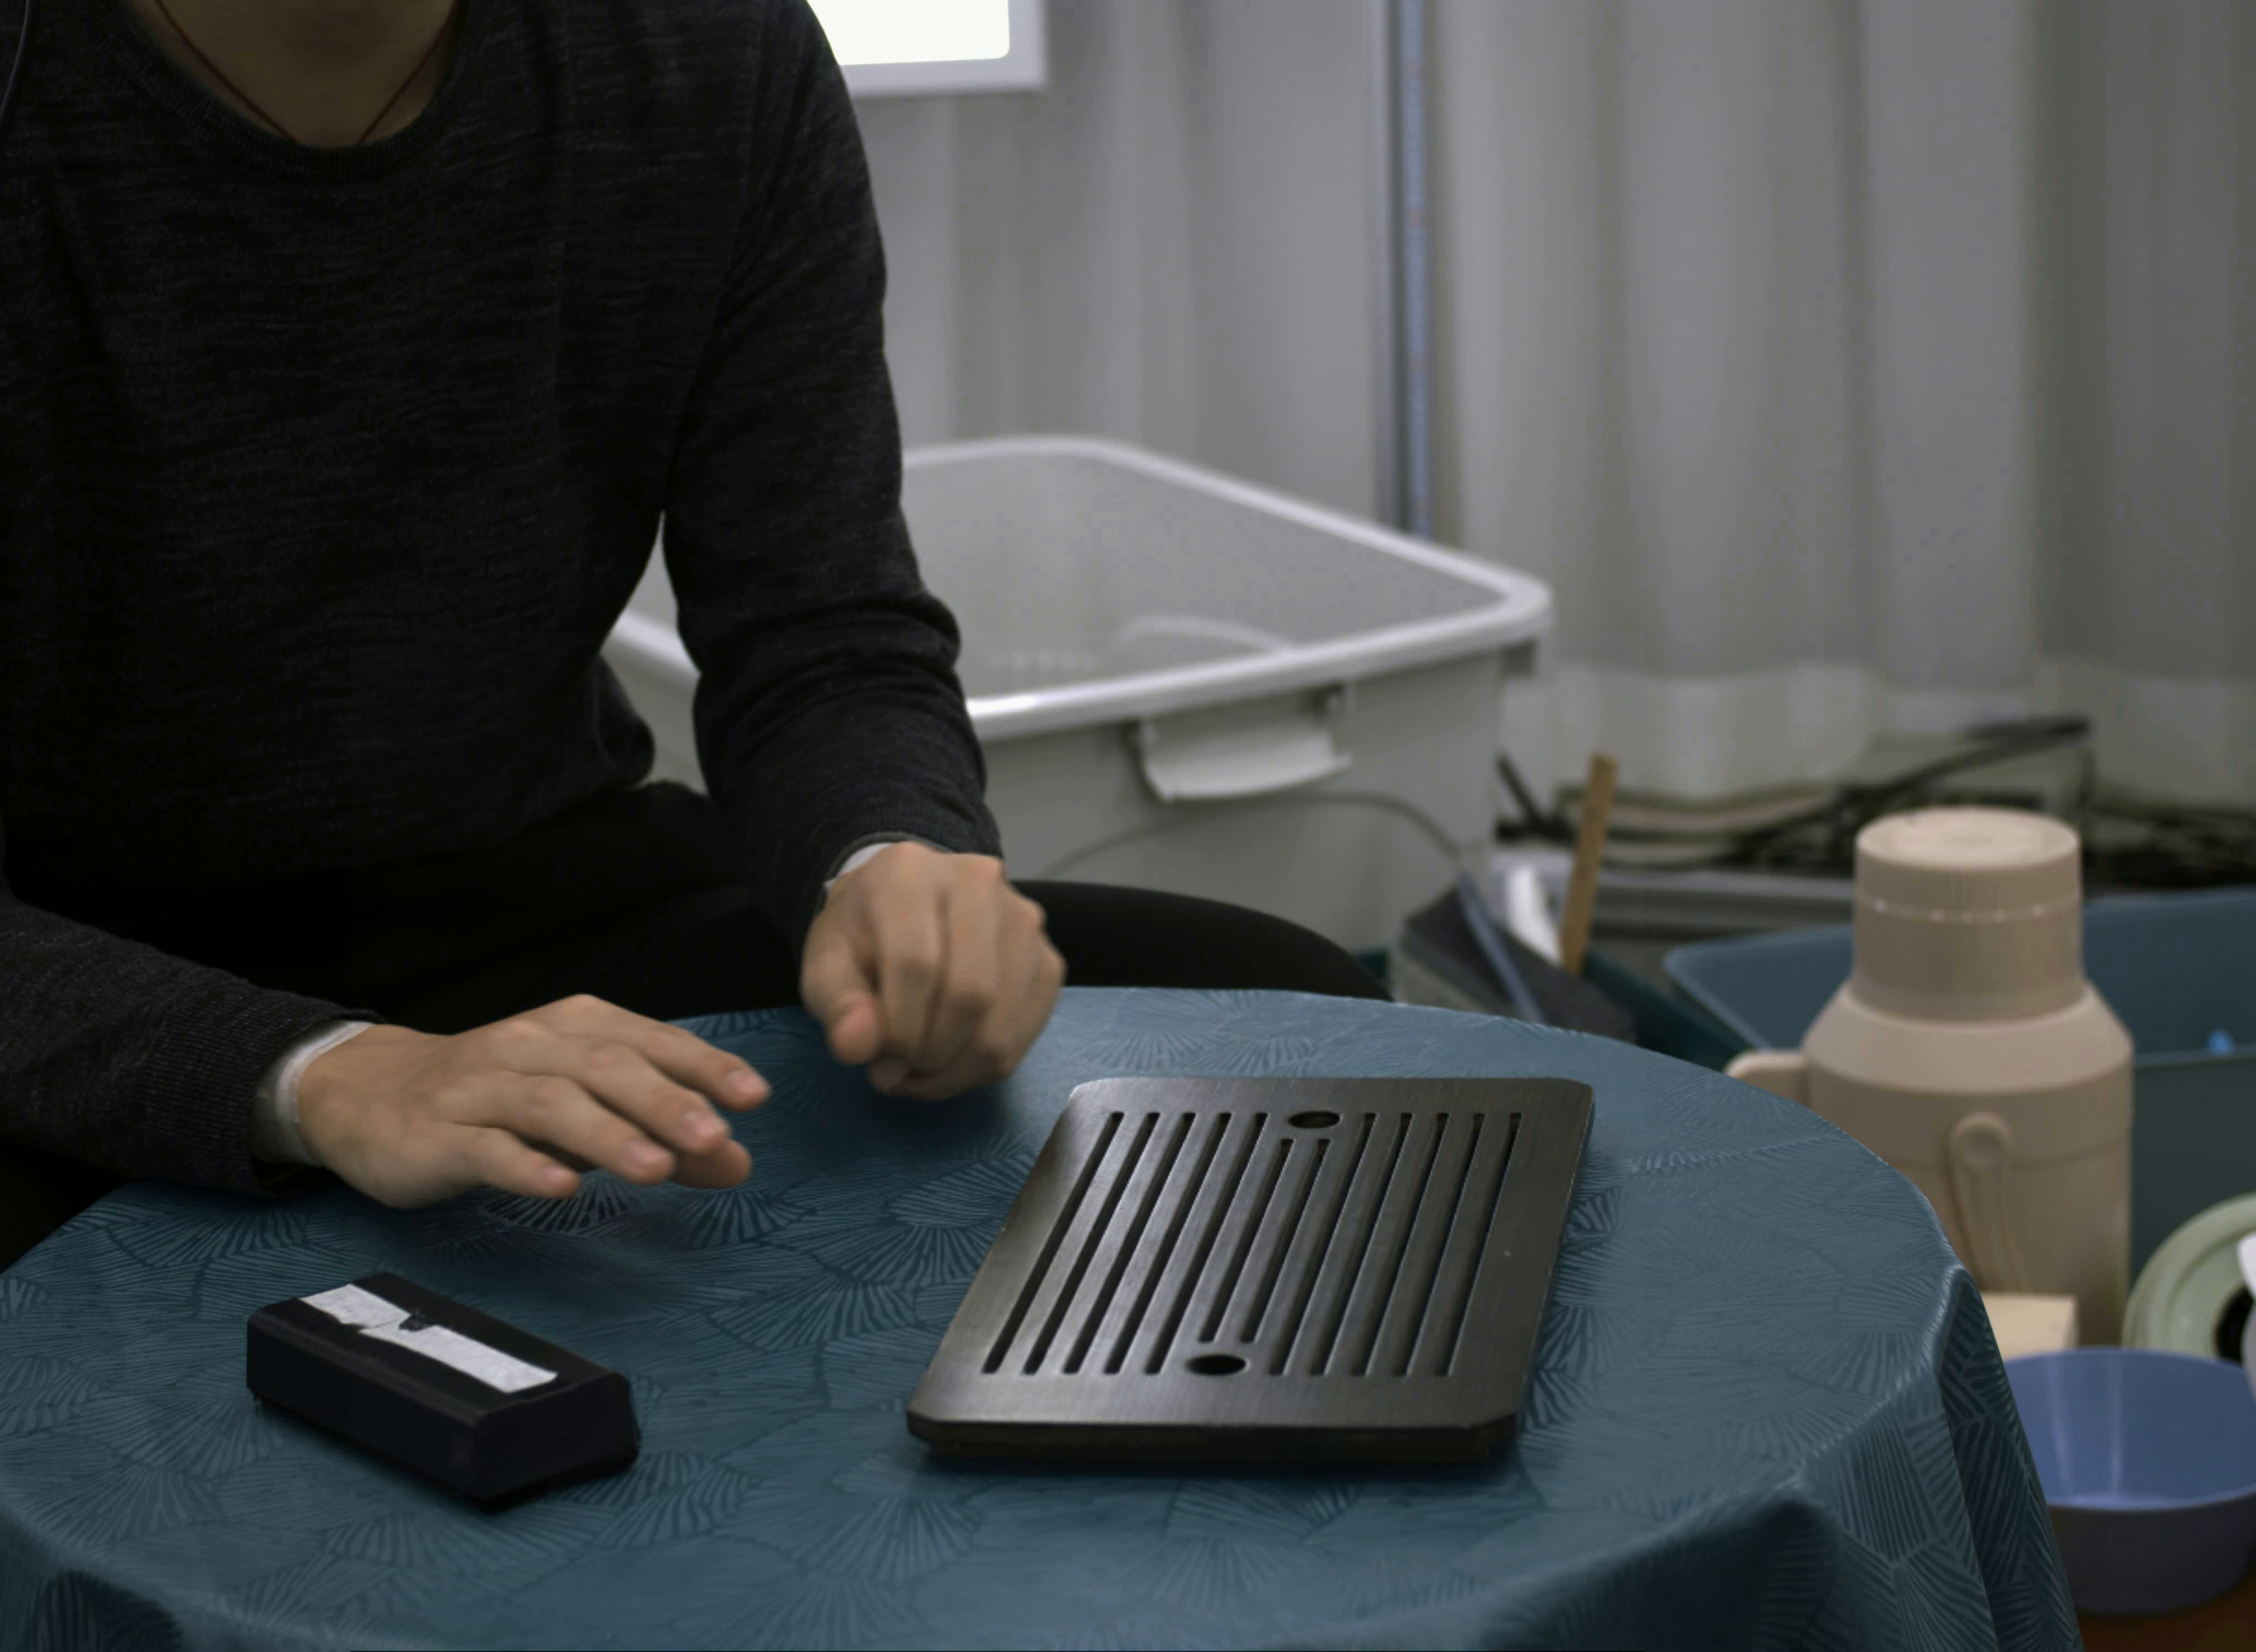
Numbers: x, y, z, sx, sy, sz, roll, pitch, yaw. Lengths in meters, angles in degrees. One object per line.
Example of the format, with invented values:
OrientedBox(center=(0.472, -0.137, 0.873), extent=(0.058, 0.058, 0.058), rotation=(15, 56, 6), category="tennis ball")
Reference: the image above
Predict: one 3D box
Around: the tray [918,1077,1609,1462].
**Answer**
OrientedBox(center=(0.048, 0.129, 1.617), extent=(0.170, 0.018, 0.307), rotation=(-1, 15, 10), category="tray")

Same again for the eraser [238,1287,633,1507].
OrientedBox(center=(-0.194, 0.159, 1.532), extent=(0.053, 0.030, 0.126), rotation=(-11, 15, -39), category="eraser")
